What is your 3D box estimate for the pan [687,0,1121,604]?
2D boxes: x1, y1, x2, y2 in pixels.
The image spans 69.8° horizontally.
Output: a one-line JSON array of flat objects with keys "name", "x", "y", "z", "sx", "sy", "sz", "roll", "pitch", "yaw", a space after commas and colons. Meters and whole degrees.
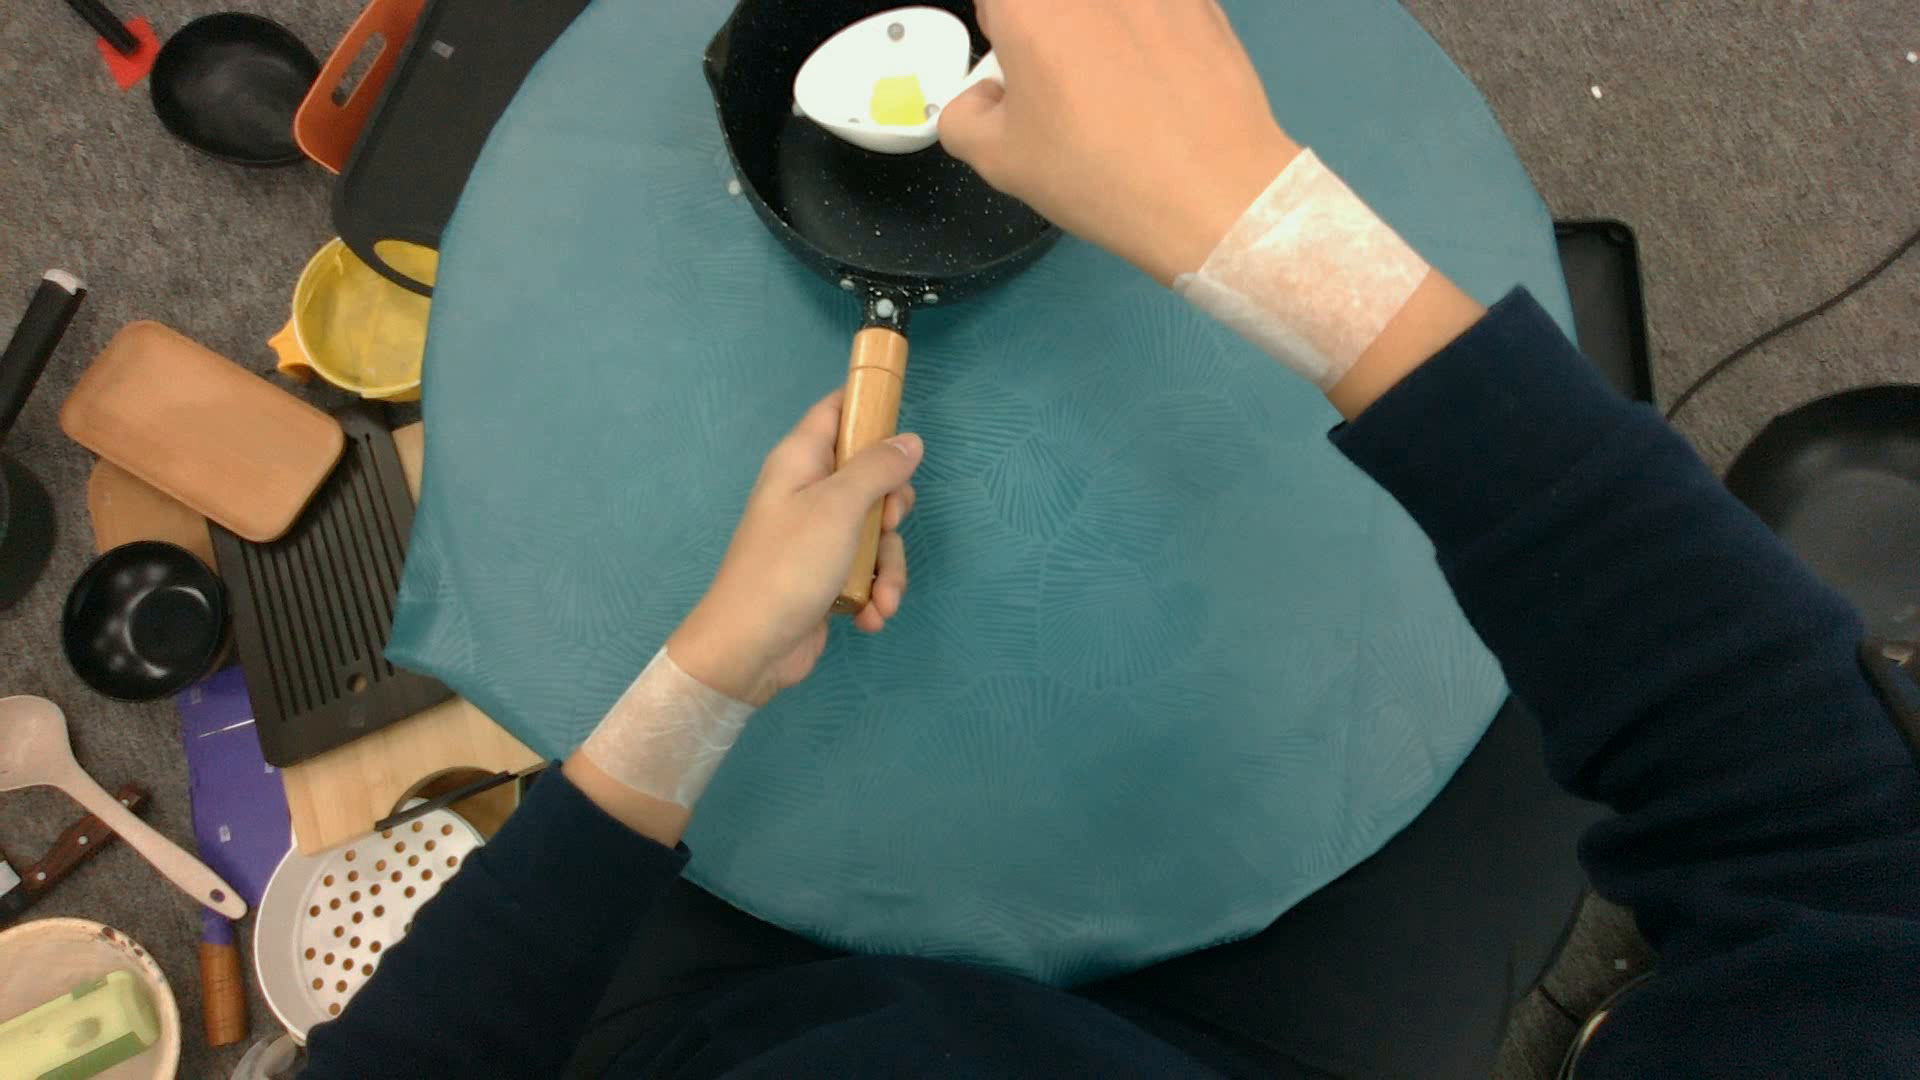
[{"name": "pan", "x": -0.035, "y": -0.131, "z": 0.658, "sx": 0.207, "sy": 0.108, "sz": 0.343, "roll": 7, "pitch": 78, "yaw": -3}]

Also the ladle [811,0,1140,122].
[{"name": "ladle", "x": 0.002, "y": -0.212, "z": 0.568, "sx": 0.090, "sy": 0.293, "sz": 0.070, "roll": -20, "pitch": 108, "yaw": -9}]
